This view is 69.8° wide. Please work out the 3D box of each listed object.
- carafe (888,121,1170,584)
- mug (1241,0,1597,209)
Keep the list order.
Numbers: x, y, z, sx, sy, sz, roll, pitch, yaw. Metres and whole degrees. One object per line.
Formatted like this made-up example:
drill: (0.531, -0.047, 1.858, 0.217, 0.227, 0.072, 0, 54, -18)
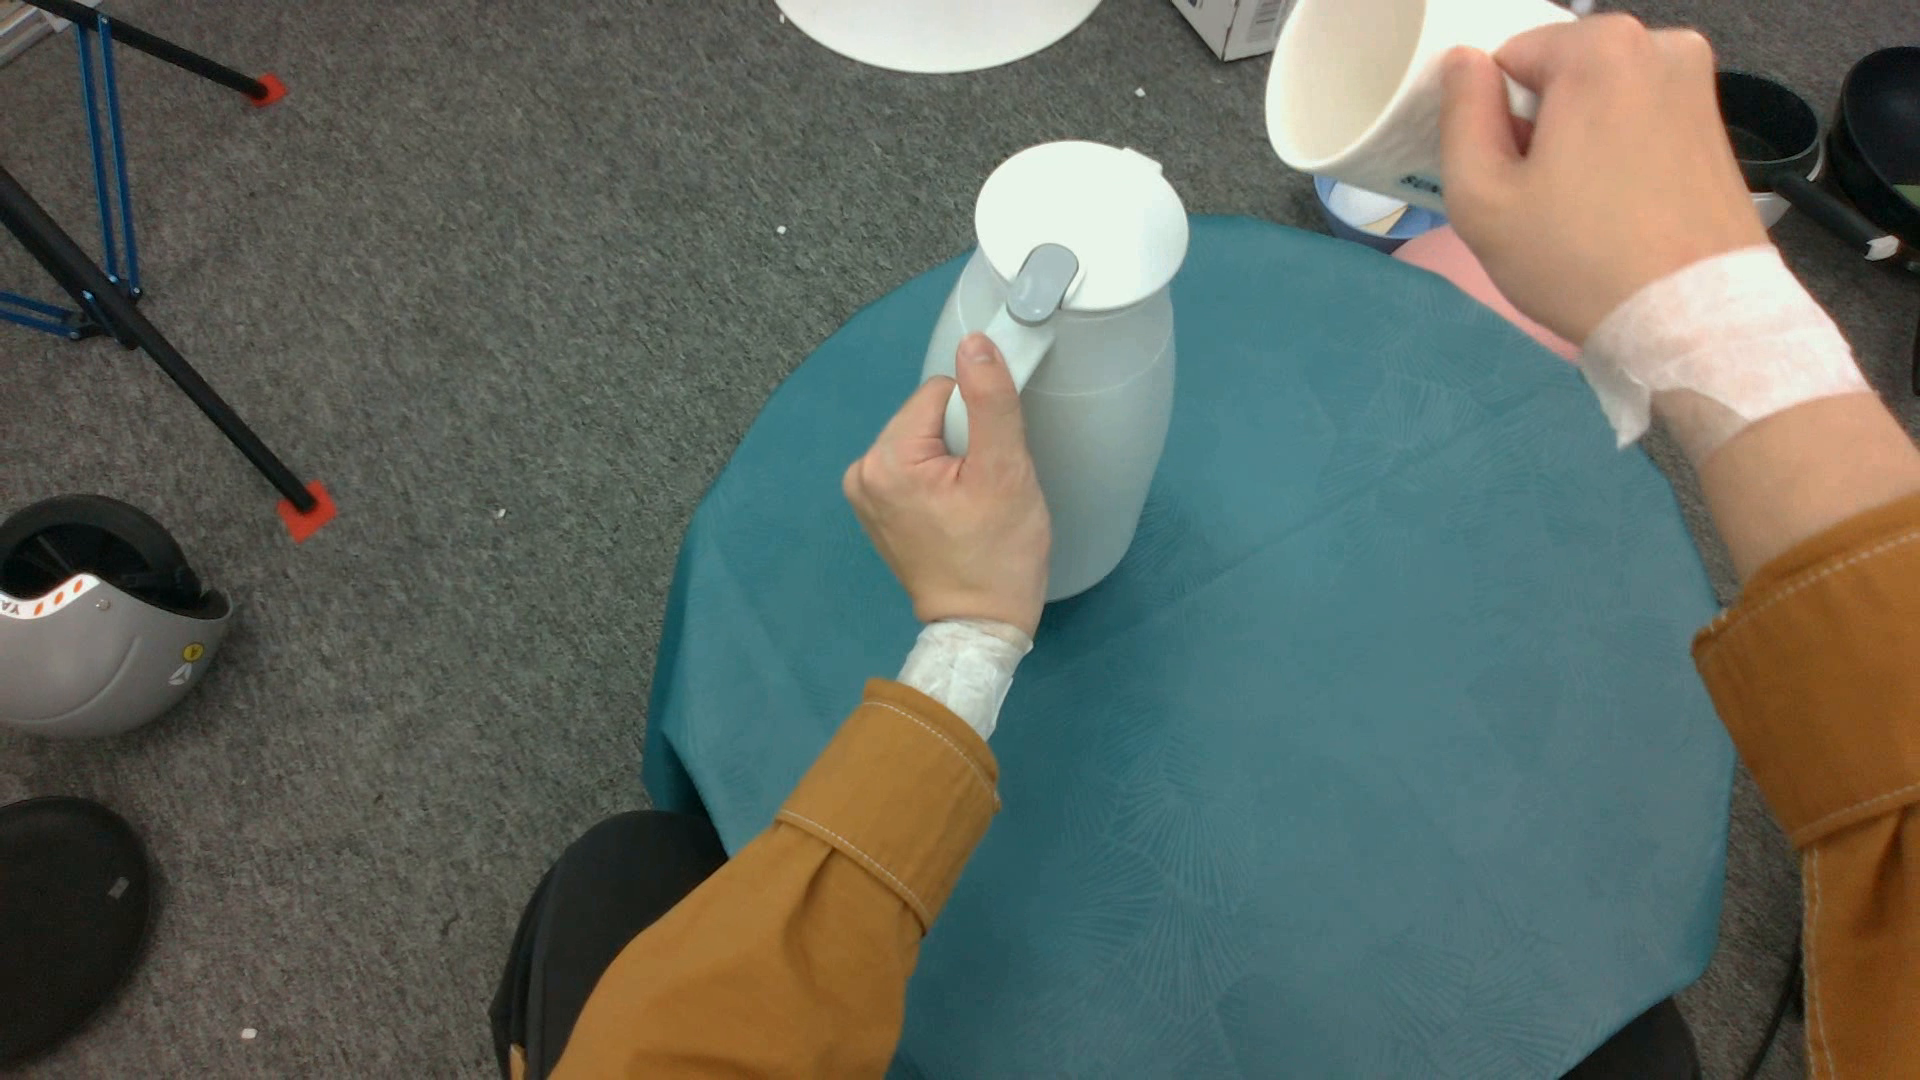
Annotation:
carafe: (0.026, -0.075, 0.676, 0.132, 0.247, 0.168, 28, 64, 9)
mug: (0.178, -0.170, 0.506, 0.102, 0.084, 0.118, 8, 21, -26)
